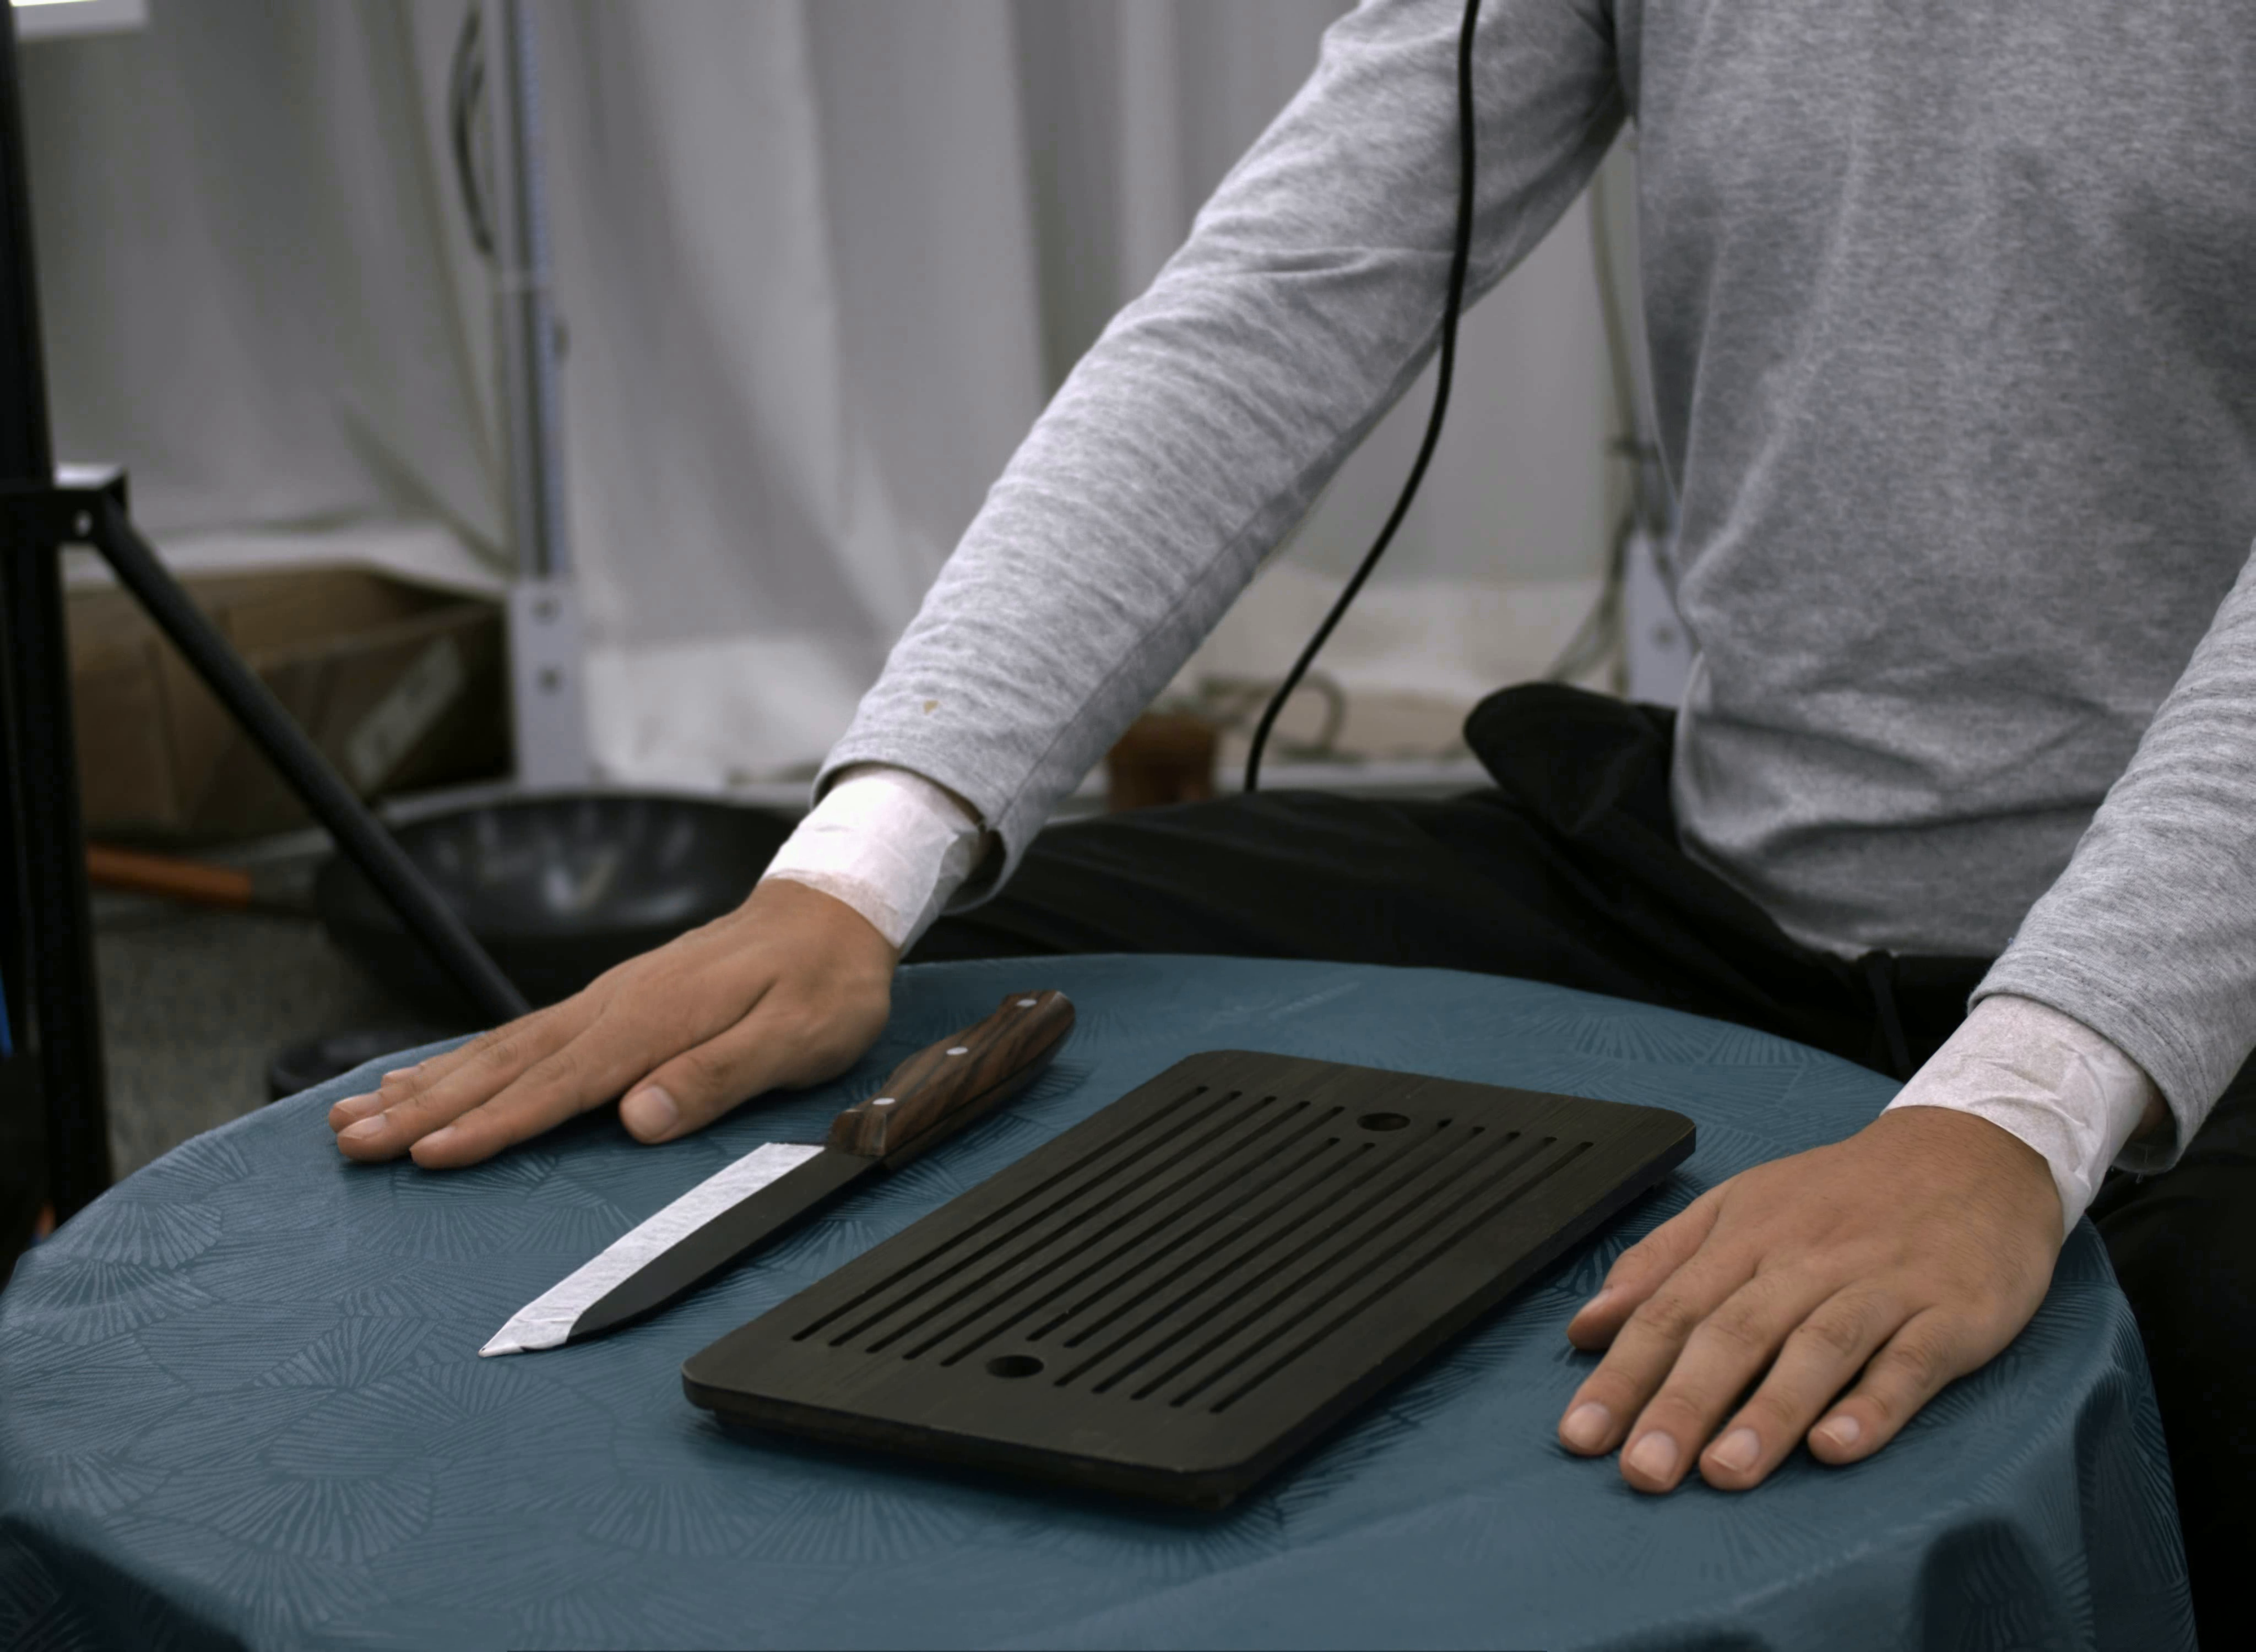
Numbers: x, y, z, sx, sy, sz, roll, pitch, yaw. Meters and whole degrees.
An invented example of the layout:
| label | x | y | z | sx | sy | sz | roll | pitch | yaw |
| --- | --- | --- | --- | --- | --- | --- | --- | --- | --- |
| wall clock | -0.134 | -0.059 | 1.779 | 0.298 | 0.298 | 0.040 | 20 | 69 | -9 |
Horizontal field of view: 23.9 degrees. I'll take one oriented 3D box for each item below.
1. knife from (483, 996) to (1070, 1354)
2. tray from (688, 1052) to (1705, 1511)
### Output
| label | x | y | z | sx | sy | sz | roll | pitch | yaw |
| --- | --- | --- | --- | --- | --- | --- | --- | --- | --- |
| knife | -0.098 | 0.103 | 1.568 | 0.051 | 0.020 | 0.284 | 2 | 18 | 33 |
| tray | 0.027 | 0.123 | 1.475 | 0.173 | 0.018 | 0.300 | 6 | 18 | 30 |
